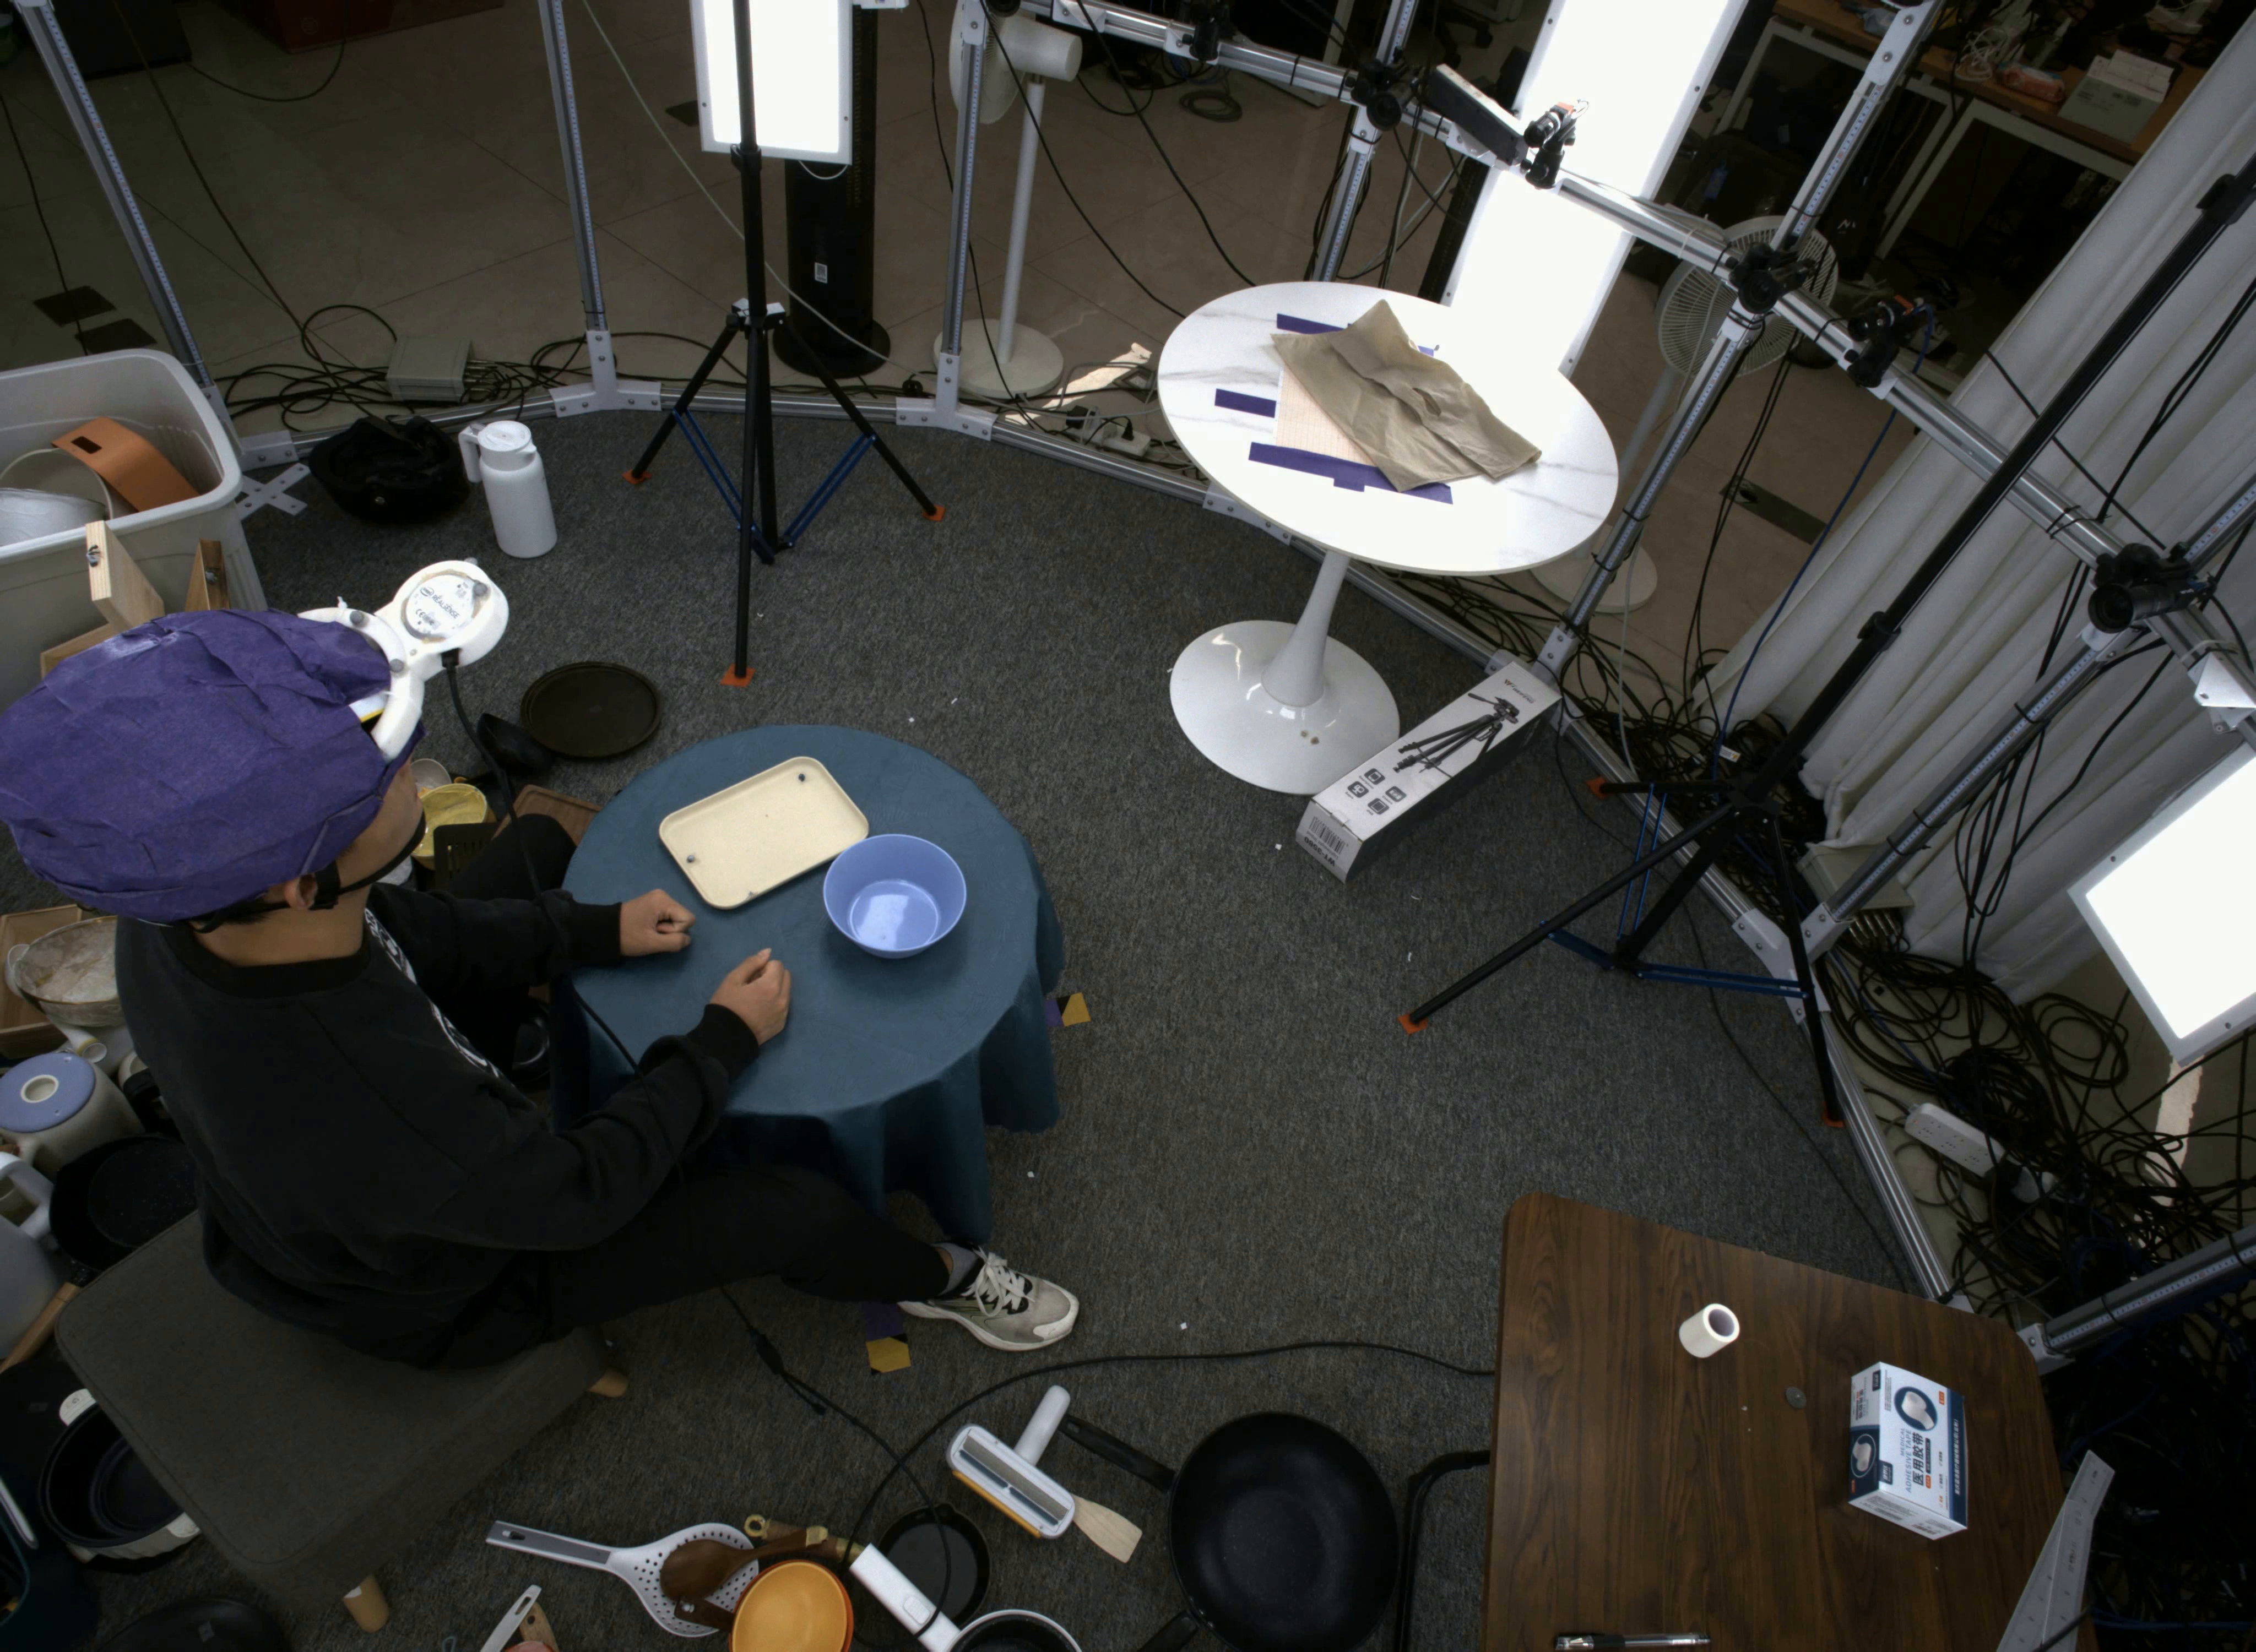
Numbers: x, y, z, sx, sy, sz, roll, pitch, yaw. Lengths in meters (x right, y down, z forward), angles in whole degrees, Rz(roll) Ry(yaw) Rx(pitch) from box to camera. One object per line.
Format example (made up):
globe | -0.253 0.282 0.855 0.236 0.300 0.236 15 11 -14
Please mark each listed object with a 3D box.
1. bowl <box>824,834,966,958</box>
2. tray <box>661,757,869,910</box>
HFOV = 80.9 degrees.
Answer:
bowl | -0.293 0.098 1.644 0.175 0.072 0.173 7 52 -8
tray | -0.475 0.006 1.700 0.240 0.018 0.167 -30 65 -31
